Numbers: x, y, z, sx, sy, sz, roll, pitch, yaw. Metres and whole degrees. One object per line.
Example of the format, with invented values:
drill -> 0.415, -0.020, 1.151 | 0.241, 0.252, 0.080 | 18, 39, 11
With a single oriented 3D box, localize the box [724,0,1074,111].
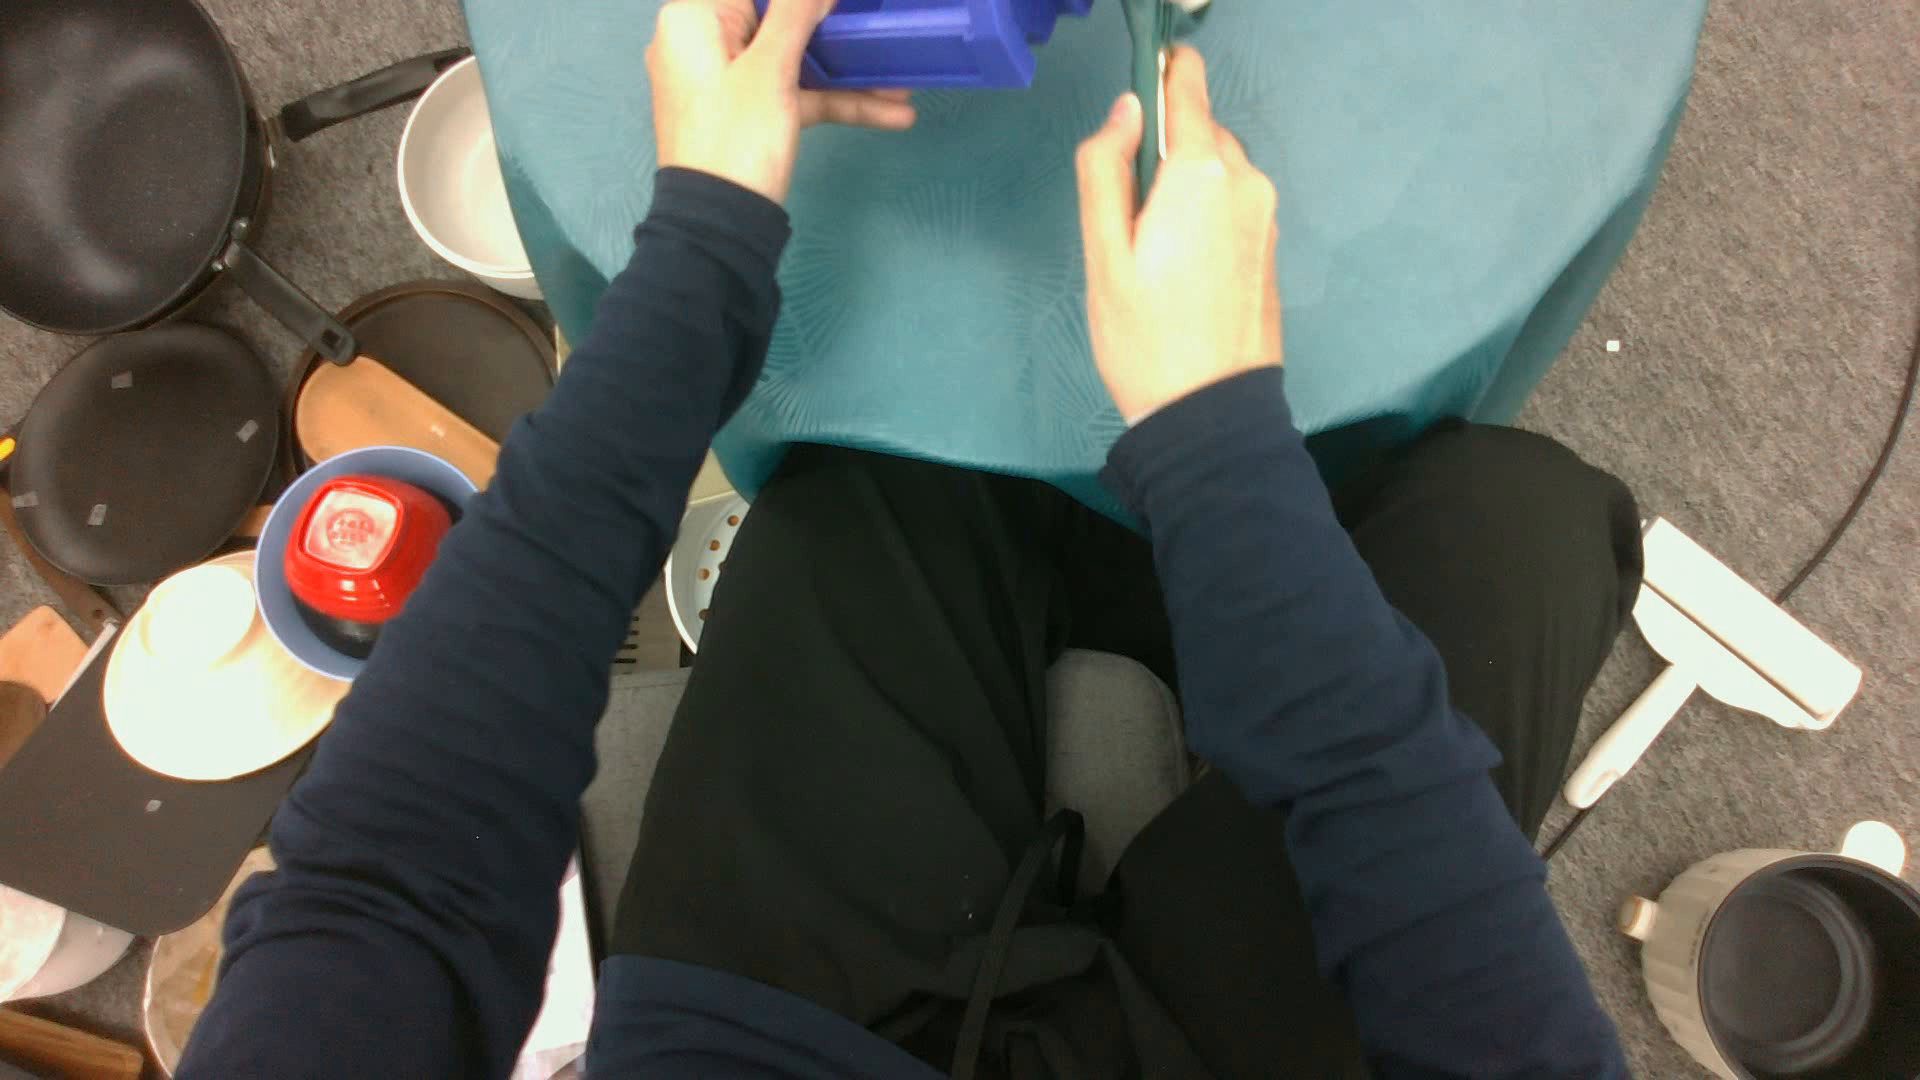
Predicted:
box -> -0.009, -0.260, 0.538 | 0.124, 0.082, 0.180 | 16, 78, 35

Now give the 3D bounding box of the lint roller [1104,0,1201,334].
lint roller -> 0.074, -0.170, 0.518 | 0.048, 0.134, 0.180 | -11, 87, 24
